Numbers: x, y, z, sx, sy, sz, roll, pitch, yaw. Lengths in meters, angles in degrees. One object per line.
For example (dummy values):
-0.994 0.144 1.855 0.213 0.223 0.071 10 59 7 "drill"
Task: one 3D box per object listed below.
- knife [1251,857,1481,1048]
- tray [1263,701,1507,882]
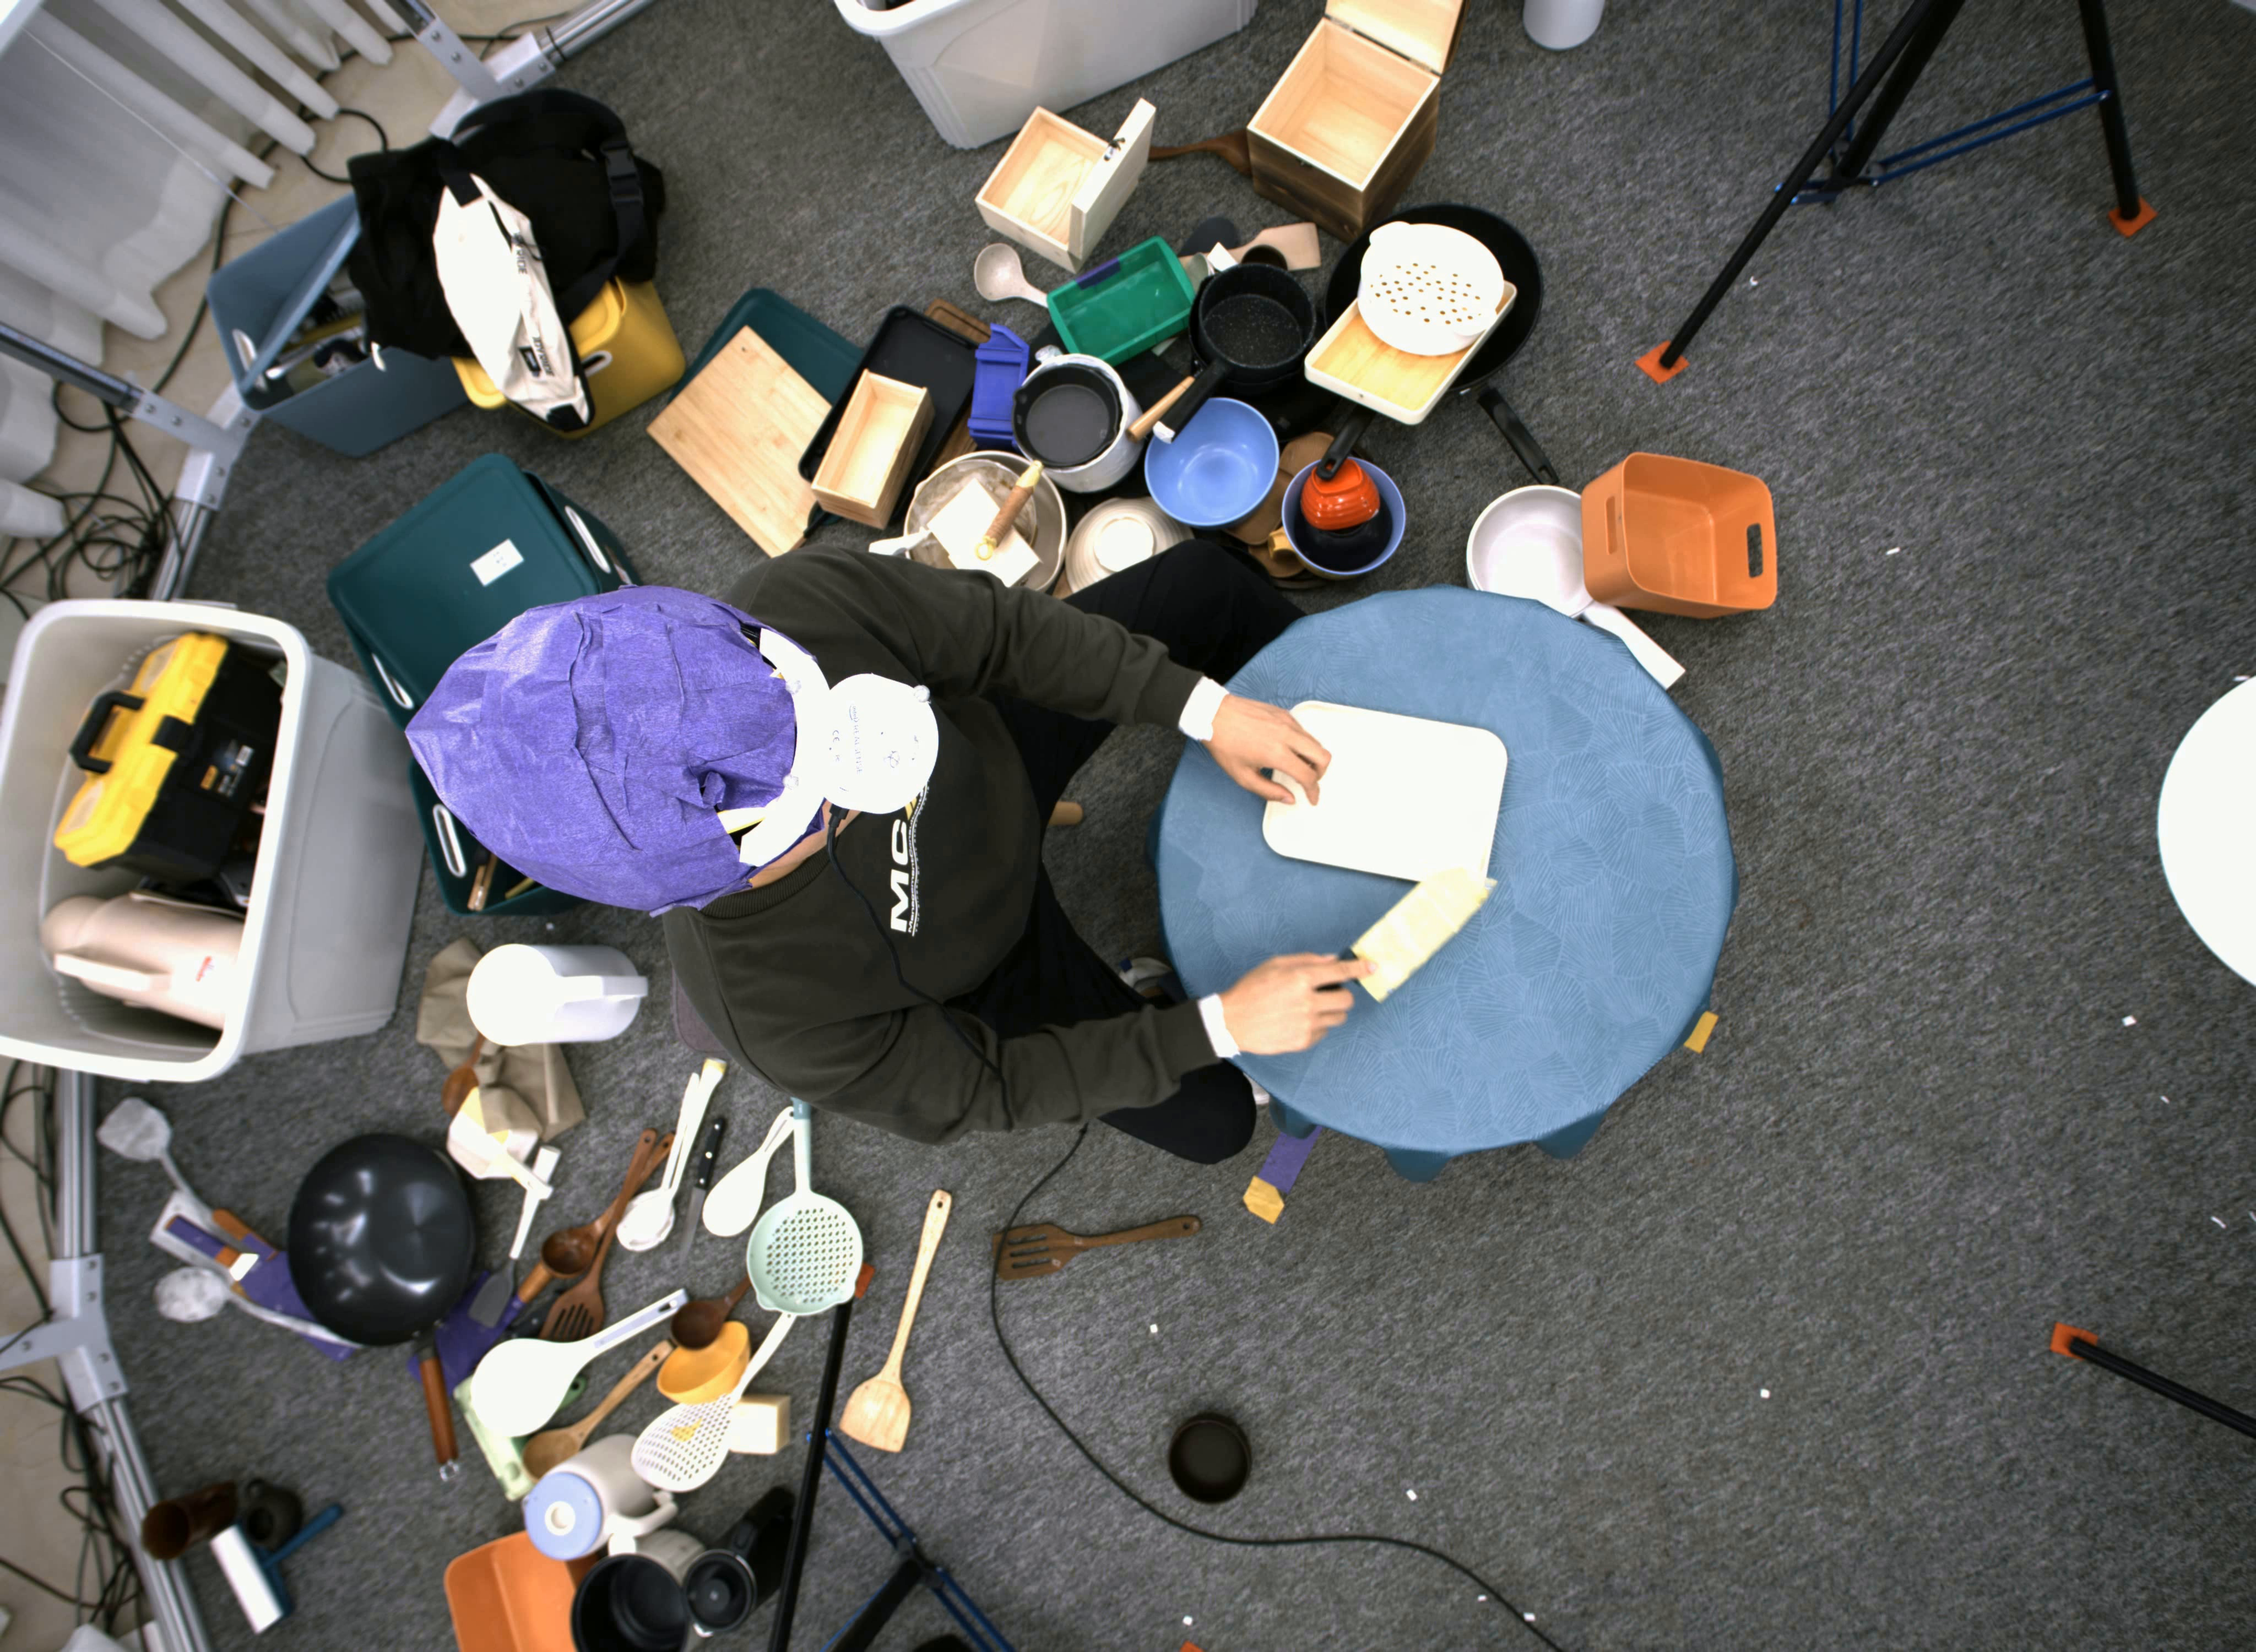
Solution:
0.241 0.129 1.380 0.290 0.027 0.082 -40 119 2 "knife"
0.270 -0.036 1.457 0.240 0.017 0.171 11 89 11 "tray"
